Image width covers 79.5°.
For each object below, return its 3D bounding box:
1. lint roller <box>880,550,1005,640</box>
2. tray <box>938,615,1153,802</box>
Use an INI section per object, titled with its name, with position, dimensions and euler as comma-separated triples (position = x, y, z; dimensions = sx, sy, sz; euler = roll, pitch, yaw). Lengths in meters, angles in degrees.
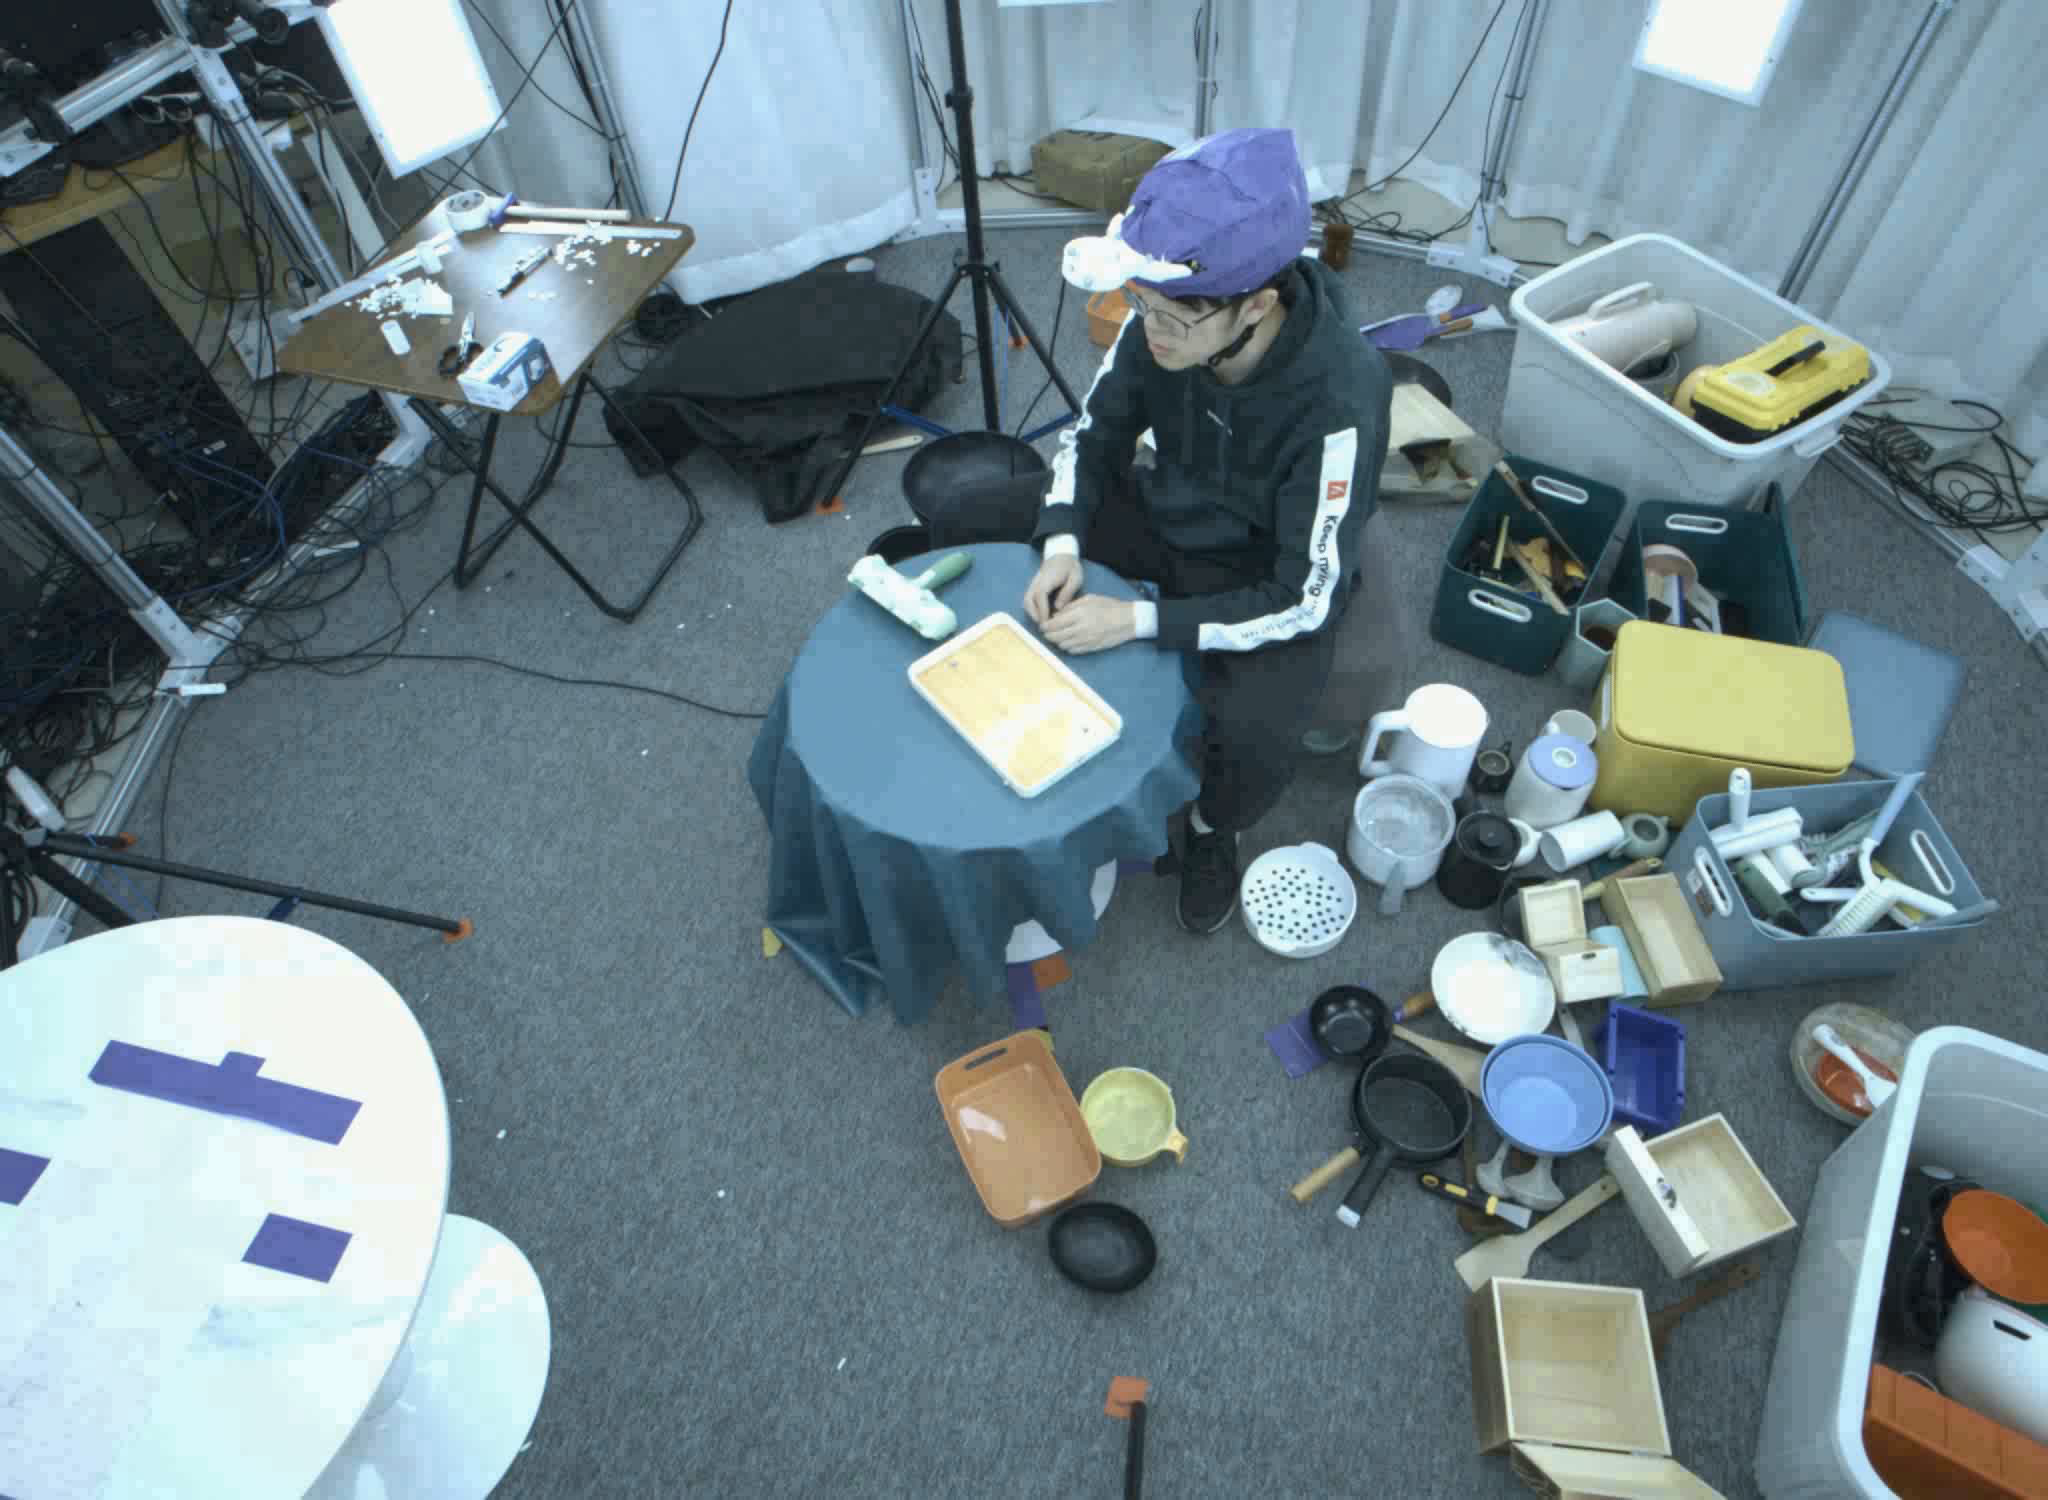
[lint roller]
position = -0.103, -0.279, 1.937
dimensions = 0.184, 0.083, 0.195
euler = -42, 63, -19
[tray]
position = 0.028, -0.067, 1.813
dimensions = 0.193, 0.028, 0.294
euler = -32, 60, -20
